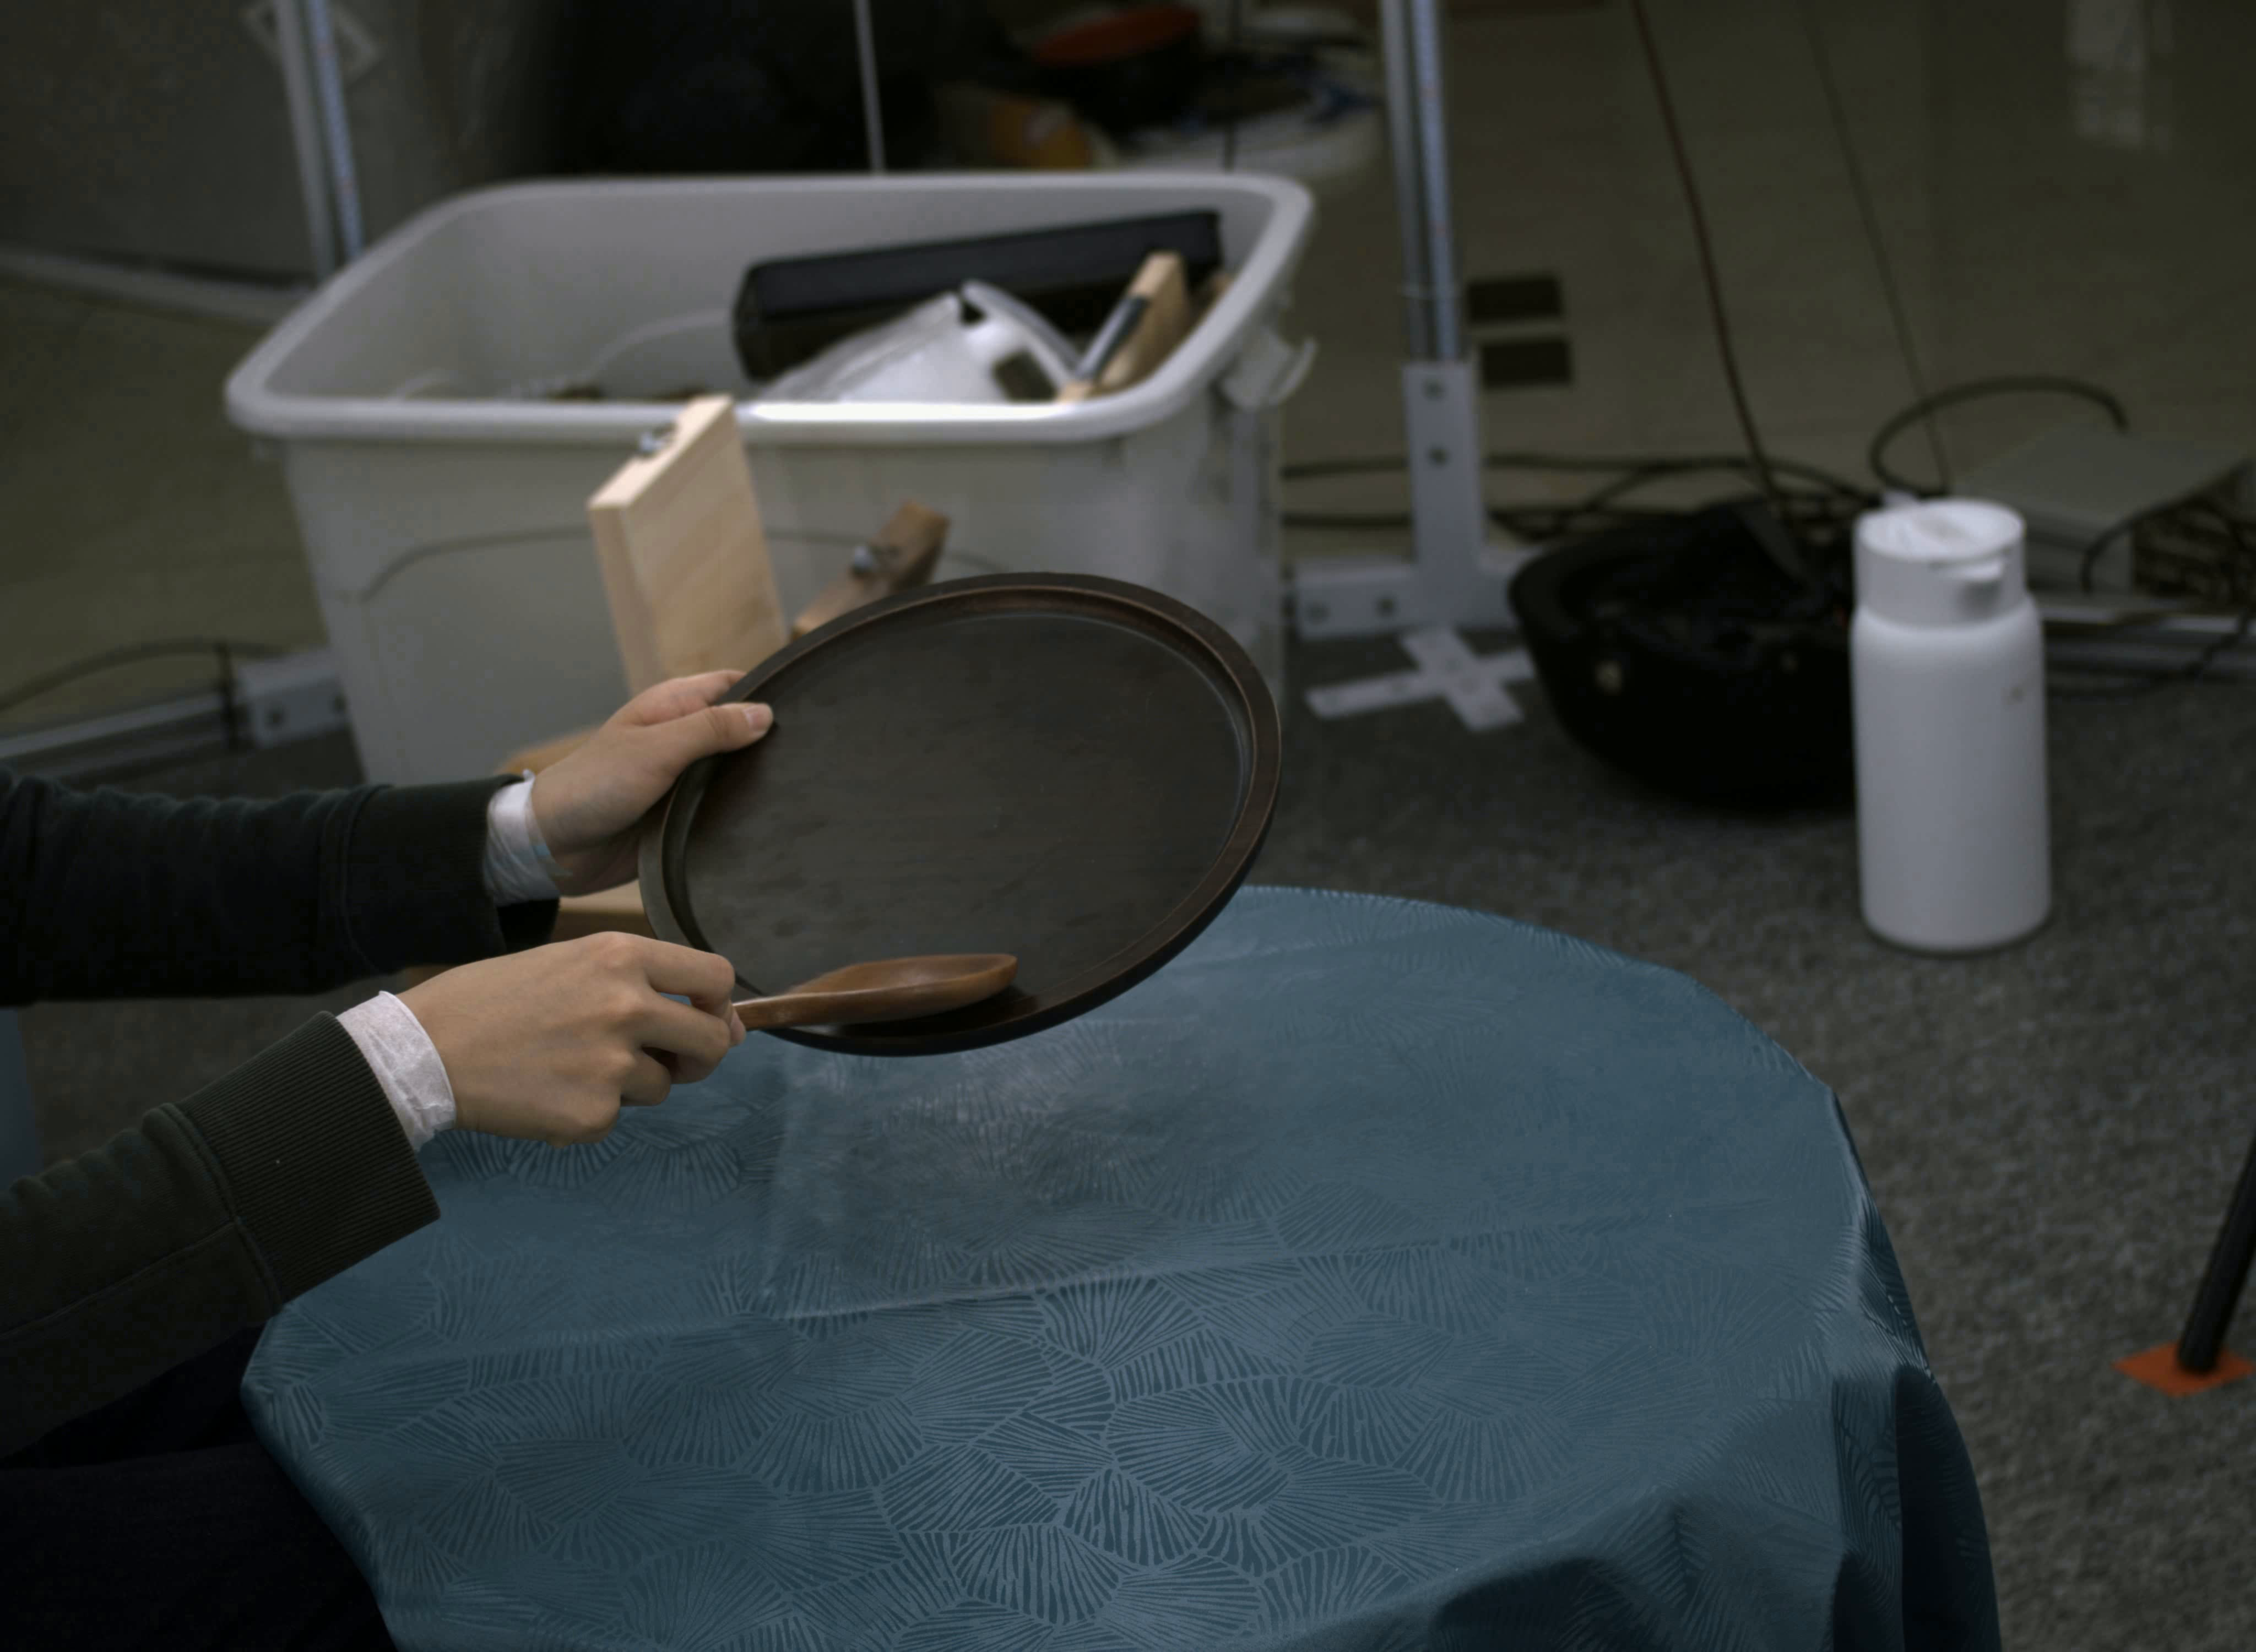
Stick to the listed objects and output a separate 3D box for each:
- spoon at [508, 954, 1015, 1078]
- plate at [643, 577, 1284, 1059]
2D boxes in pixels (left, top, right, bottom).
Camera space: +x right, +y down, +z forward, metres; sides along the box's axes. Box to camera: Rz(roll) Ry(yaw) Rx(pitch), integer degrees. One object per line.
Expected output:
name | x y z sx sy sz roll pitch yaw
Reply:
spoon | -0.130 0.067 2.018 0.215 0.017 0.075 -9 10 -41
plate | -0.062 -0.004 2.160 0.254 0.029 0.250 -9 43 8
